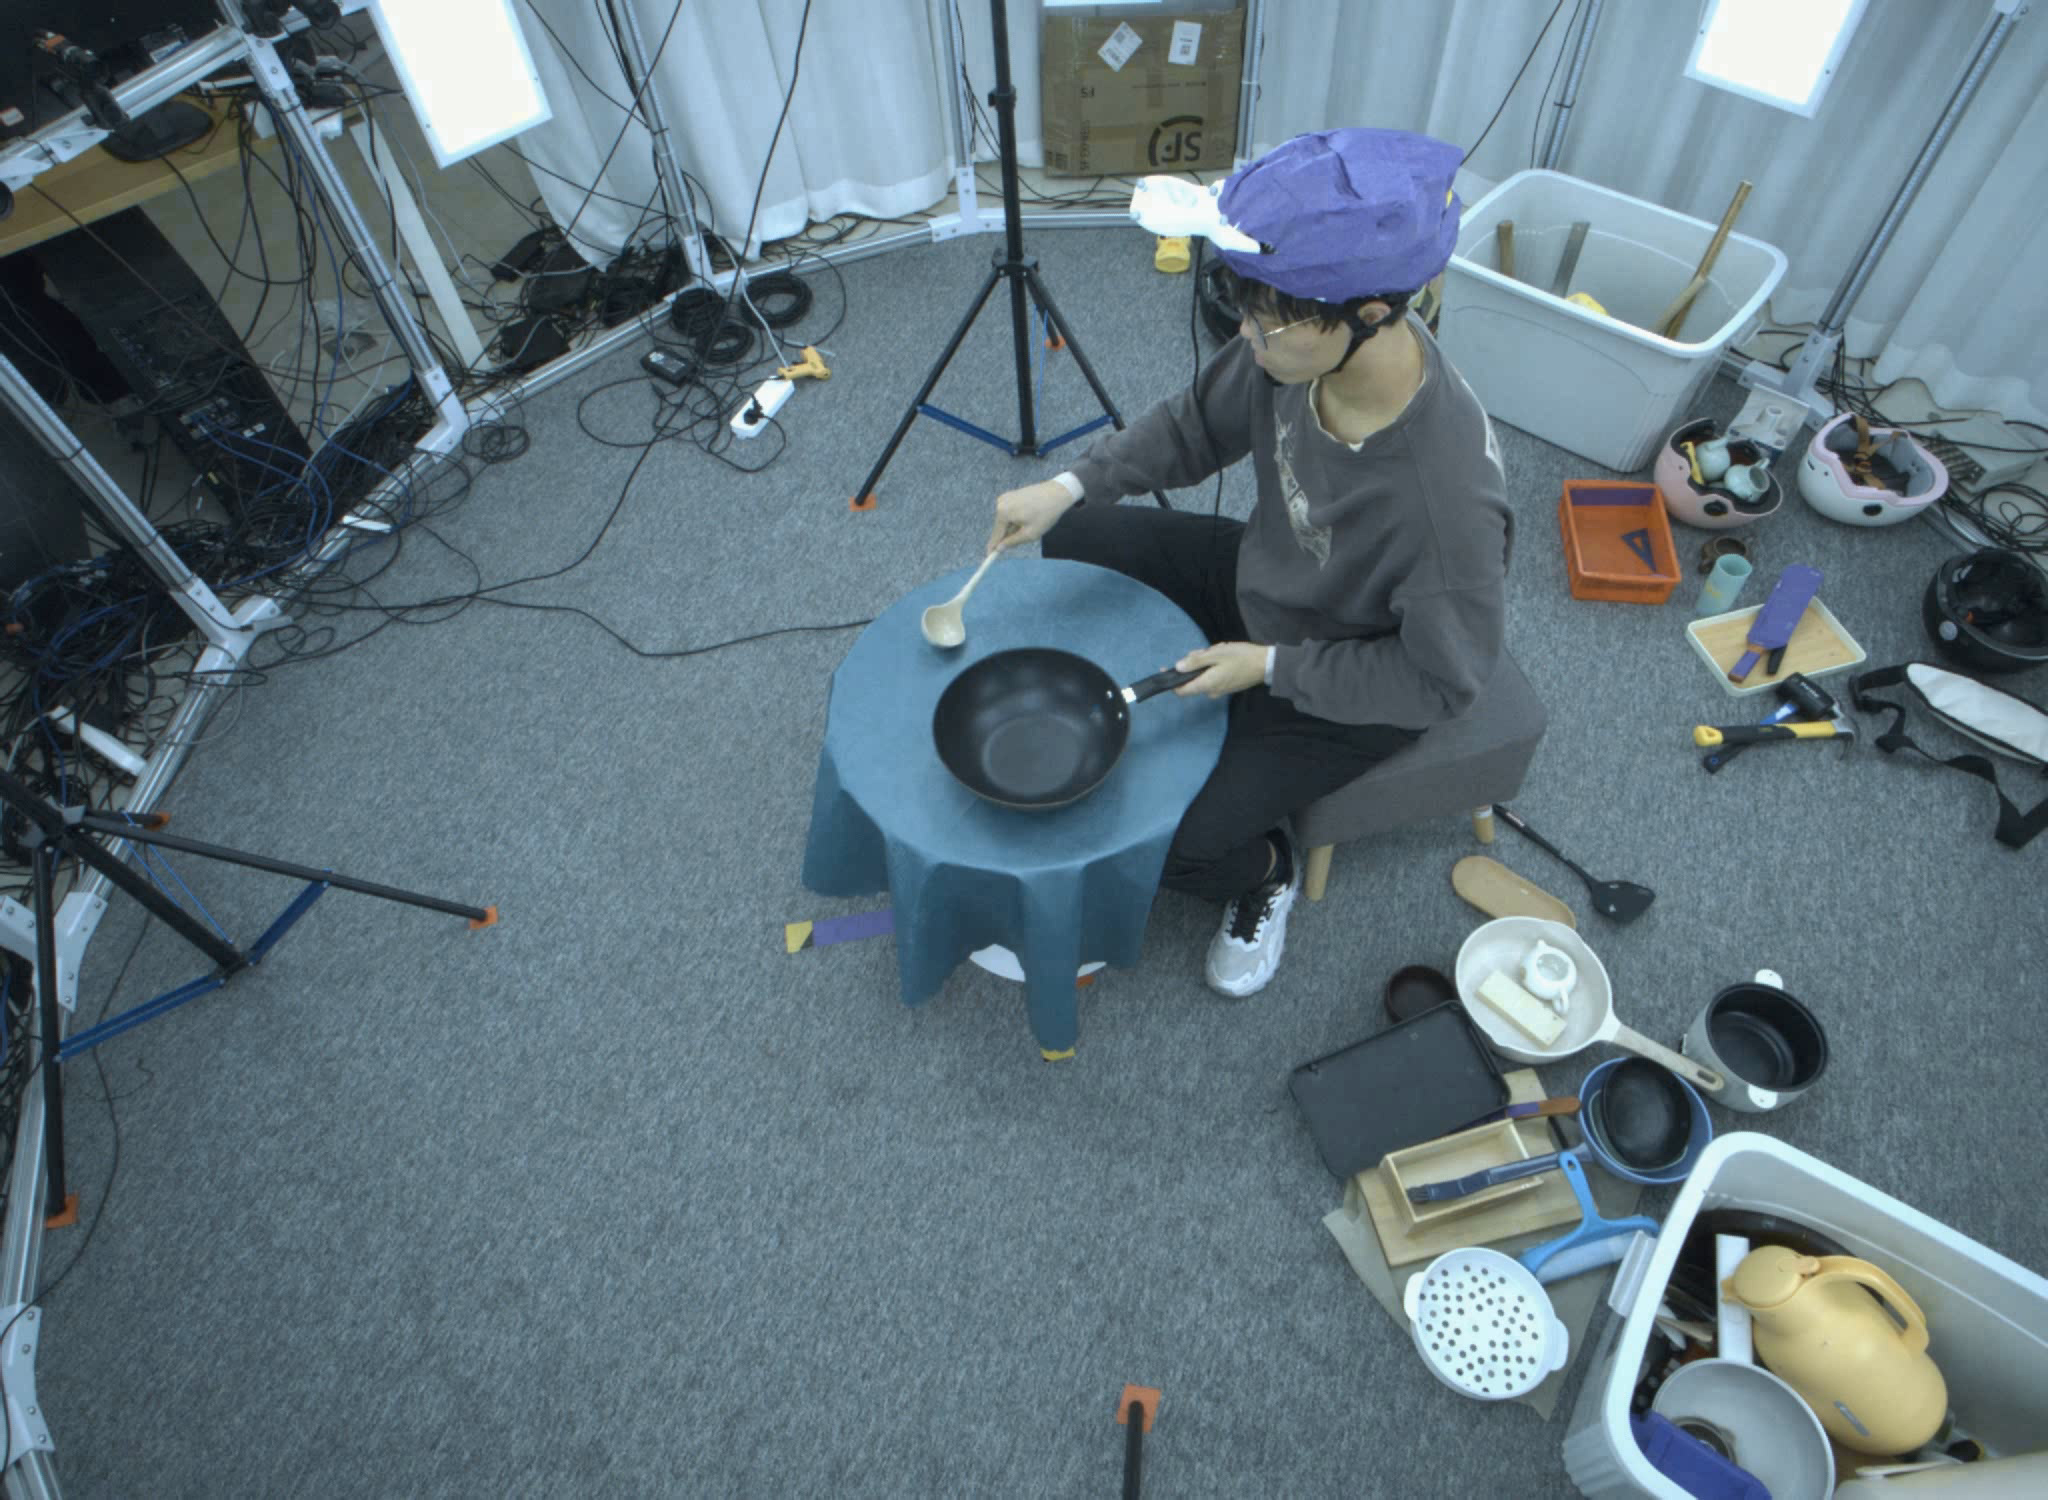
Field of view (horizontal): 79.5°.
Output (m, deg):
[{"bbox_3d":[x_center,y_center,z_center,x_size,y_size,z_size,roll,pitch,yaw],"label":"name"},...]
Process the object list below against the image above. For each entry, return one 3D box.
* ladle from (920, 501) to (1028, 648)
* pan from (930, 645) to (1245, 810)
[{"bbox_3d":[-0.071,-0.266,1.853,0.073,0.254,0.072,33,19,-8],"label":"ladle"},{"bbox_3d":[0.096,-0.046,1.763,0.466,0.088,0.283,-17,55,-11],"label":"pan"}]
